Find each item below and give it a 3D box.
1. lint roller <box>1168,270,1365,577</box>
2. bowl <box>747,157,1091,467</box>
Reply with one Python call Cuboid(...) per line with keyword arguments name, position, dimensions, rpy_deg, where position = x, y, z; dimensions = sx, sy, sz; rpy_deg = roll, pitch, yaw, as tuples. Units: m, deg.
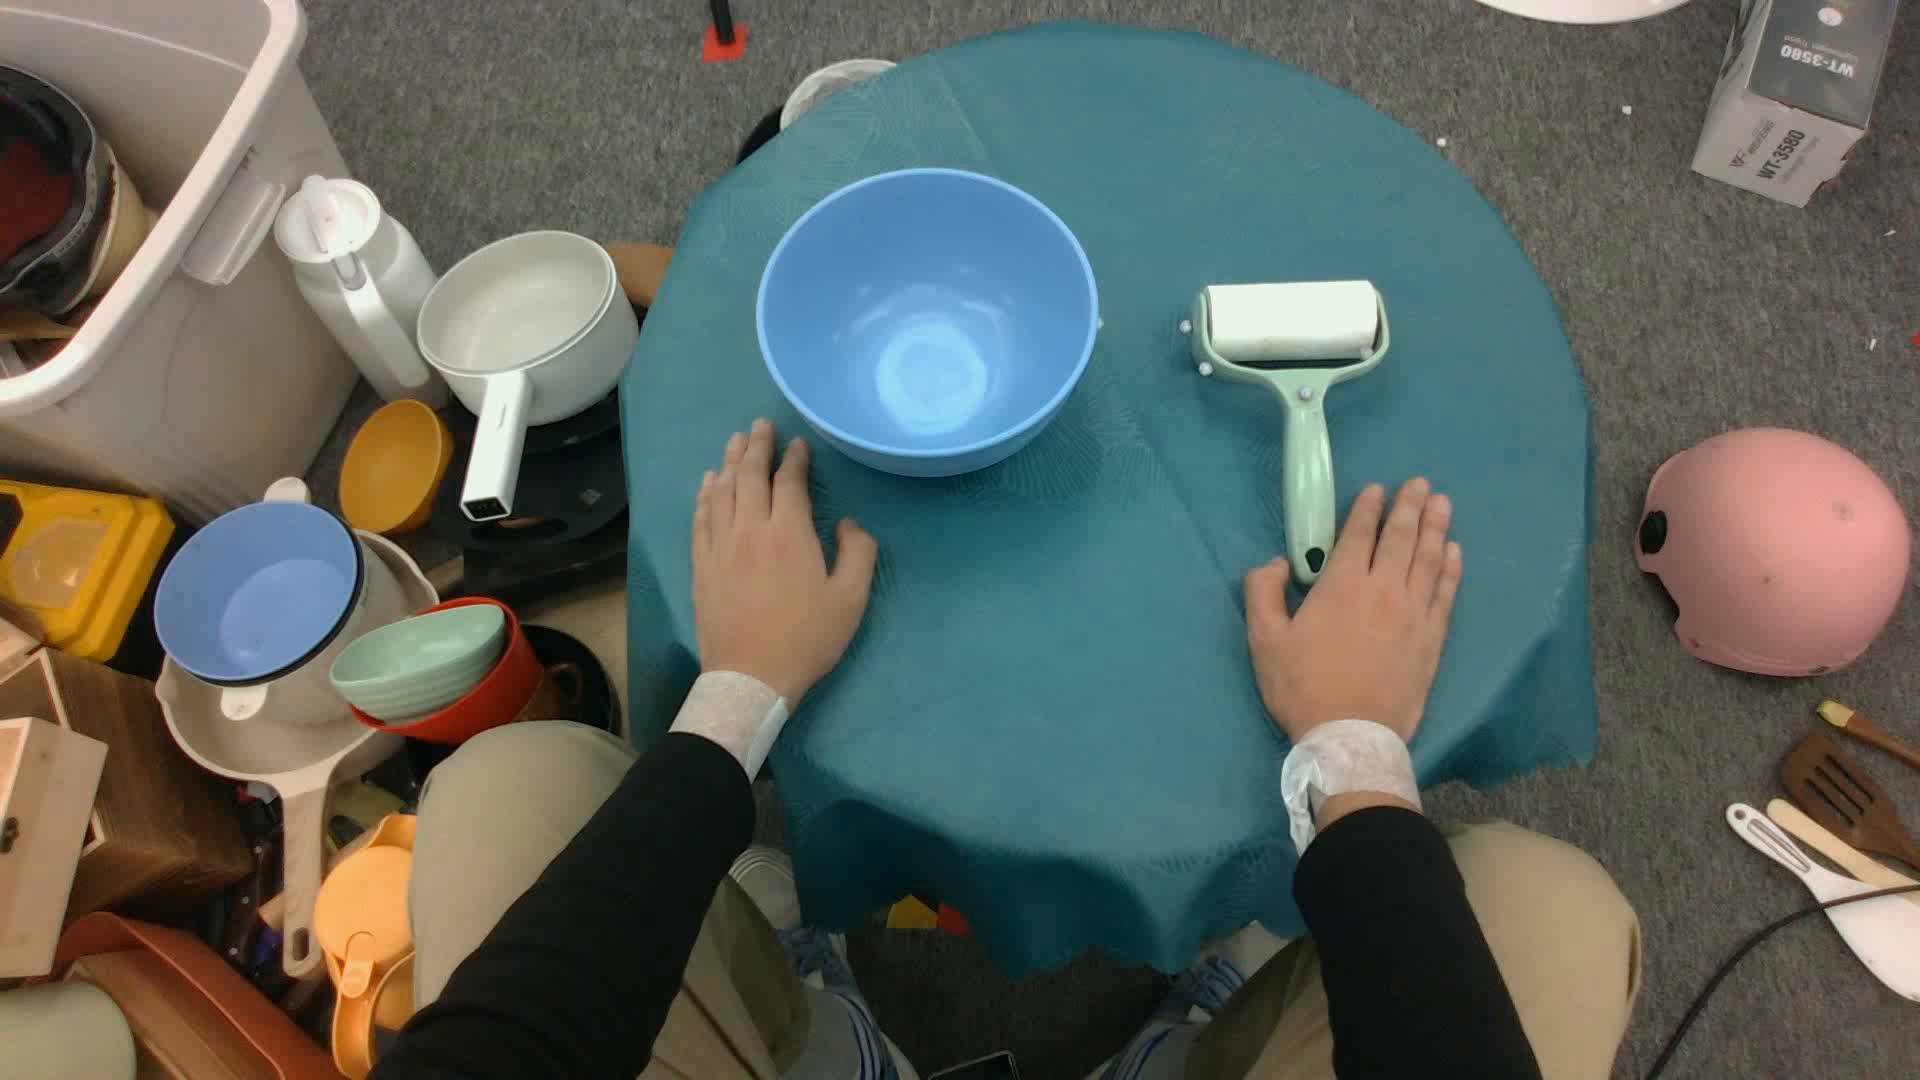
Cuboid(name="lint roller", position=(0.192, -0.075, 0.831), dimensions=(0.116, 0.048, 0.198), rpy_deg=(-1, 66, -2))
Cuboid(name="bowl", position=(-0.024, -0.121, 0.825), dimensions=(0.196, 0.095, 0.197), rpy_deg=(0, 65, -1))
